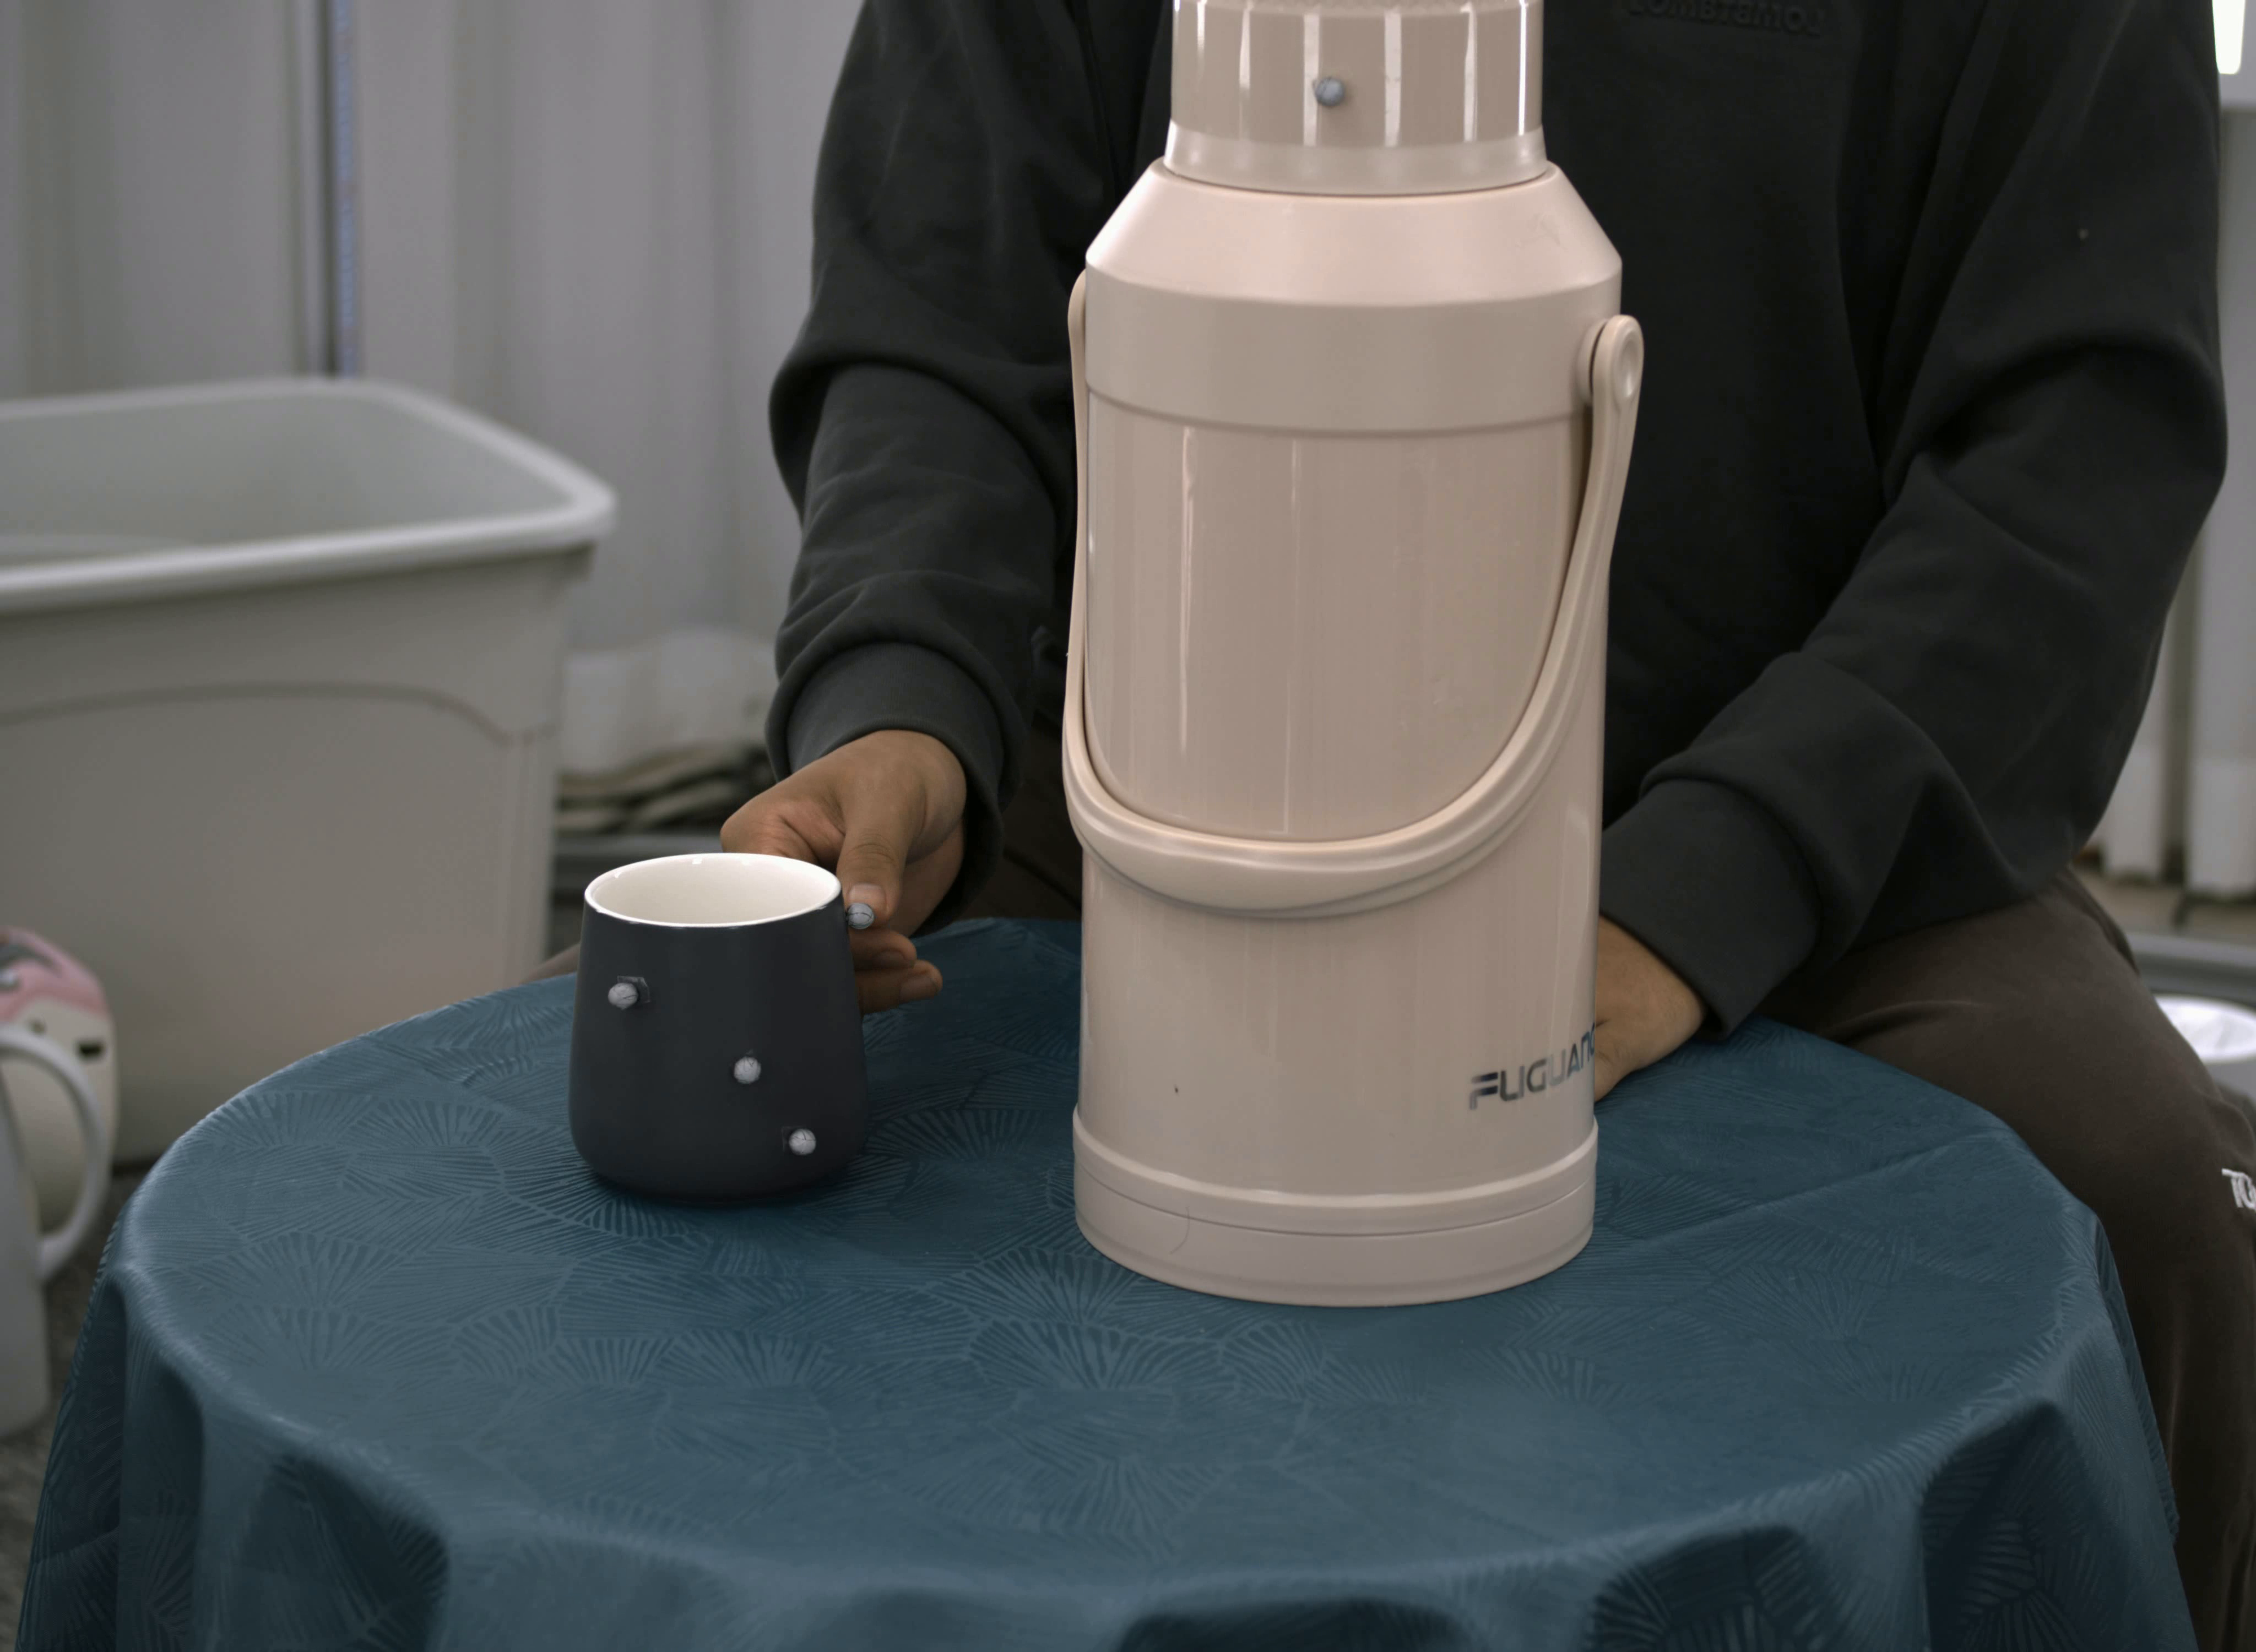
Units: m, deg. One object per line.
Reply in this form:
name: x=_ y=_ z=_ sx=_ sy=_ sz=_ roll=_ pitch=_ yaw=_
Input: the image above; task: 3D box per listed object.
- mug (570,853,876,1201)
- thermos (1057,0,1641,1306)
mug: x=-0.119 y=0.058 z=1.642 sx=0.092 sy=0.090 sz=0.123 roll=11 pitch=19 yaw=31
thermos: x=0.071 y=-0.076 z=1.563 sx=0.173 sy=0.410 sz=0.207 roll=8 pitch=18 yaw=26
